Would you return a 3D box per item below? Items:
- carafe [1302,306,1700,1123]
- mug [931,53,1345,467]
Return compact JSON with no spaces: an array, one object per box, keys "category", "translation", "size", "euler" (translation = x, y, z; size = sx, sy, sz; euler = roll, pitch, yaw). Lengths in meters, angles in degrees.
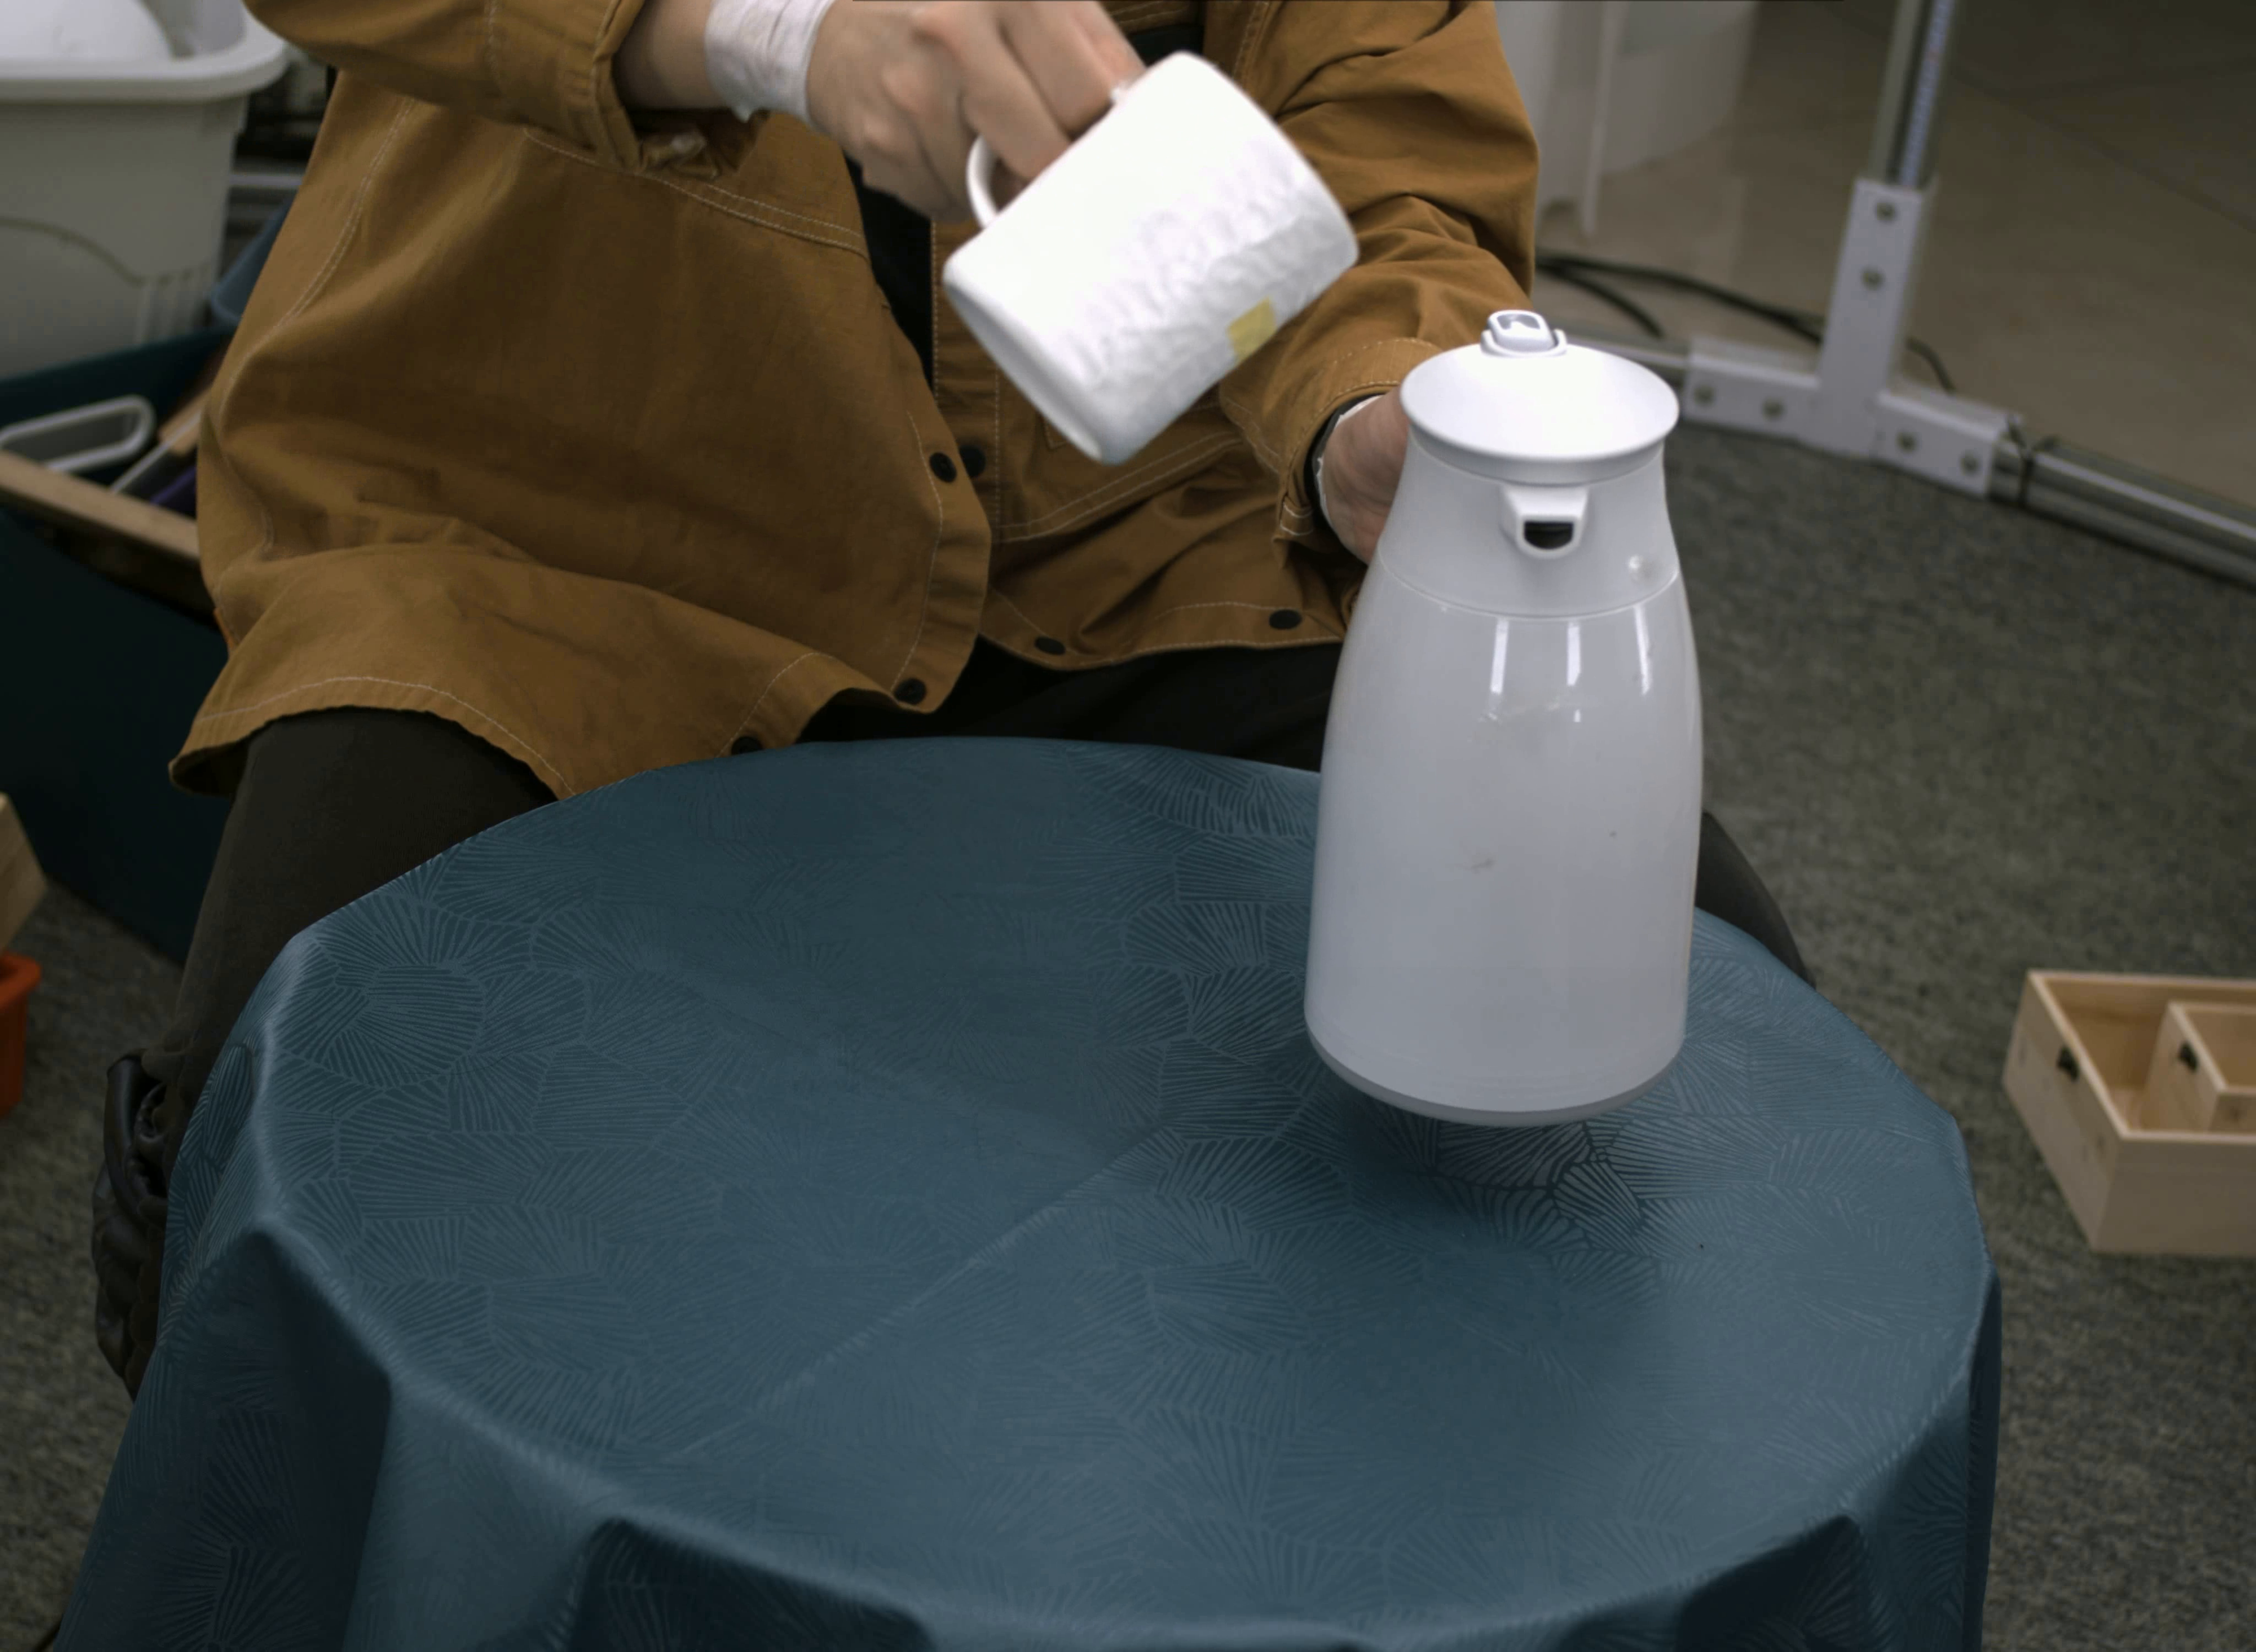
[{"category":"carafe","translation":[0.127,-0.048,1.806],"size":[0.132,0.247,0.169],"euler":[0,28,-2]},{"category":"mug","translation":[-0.008,-0.183,1.650],"size":[0.102,0.084,0.119],"euler":[-43,63,-5]}]
